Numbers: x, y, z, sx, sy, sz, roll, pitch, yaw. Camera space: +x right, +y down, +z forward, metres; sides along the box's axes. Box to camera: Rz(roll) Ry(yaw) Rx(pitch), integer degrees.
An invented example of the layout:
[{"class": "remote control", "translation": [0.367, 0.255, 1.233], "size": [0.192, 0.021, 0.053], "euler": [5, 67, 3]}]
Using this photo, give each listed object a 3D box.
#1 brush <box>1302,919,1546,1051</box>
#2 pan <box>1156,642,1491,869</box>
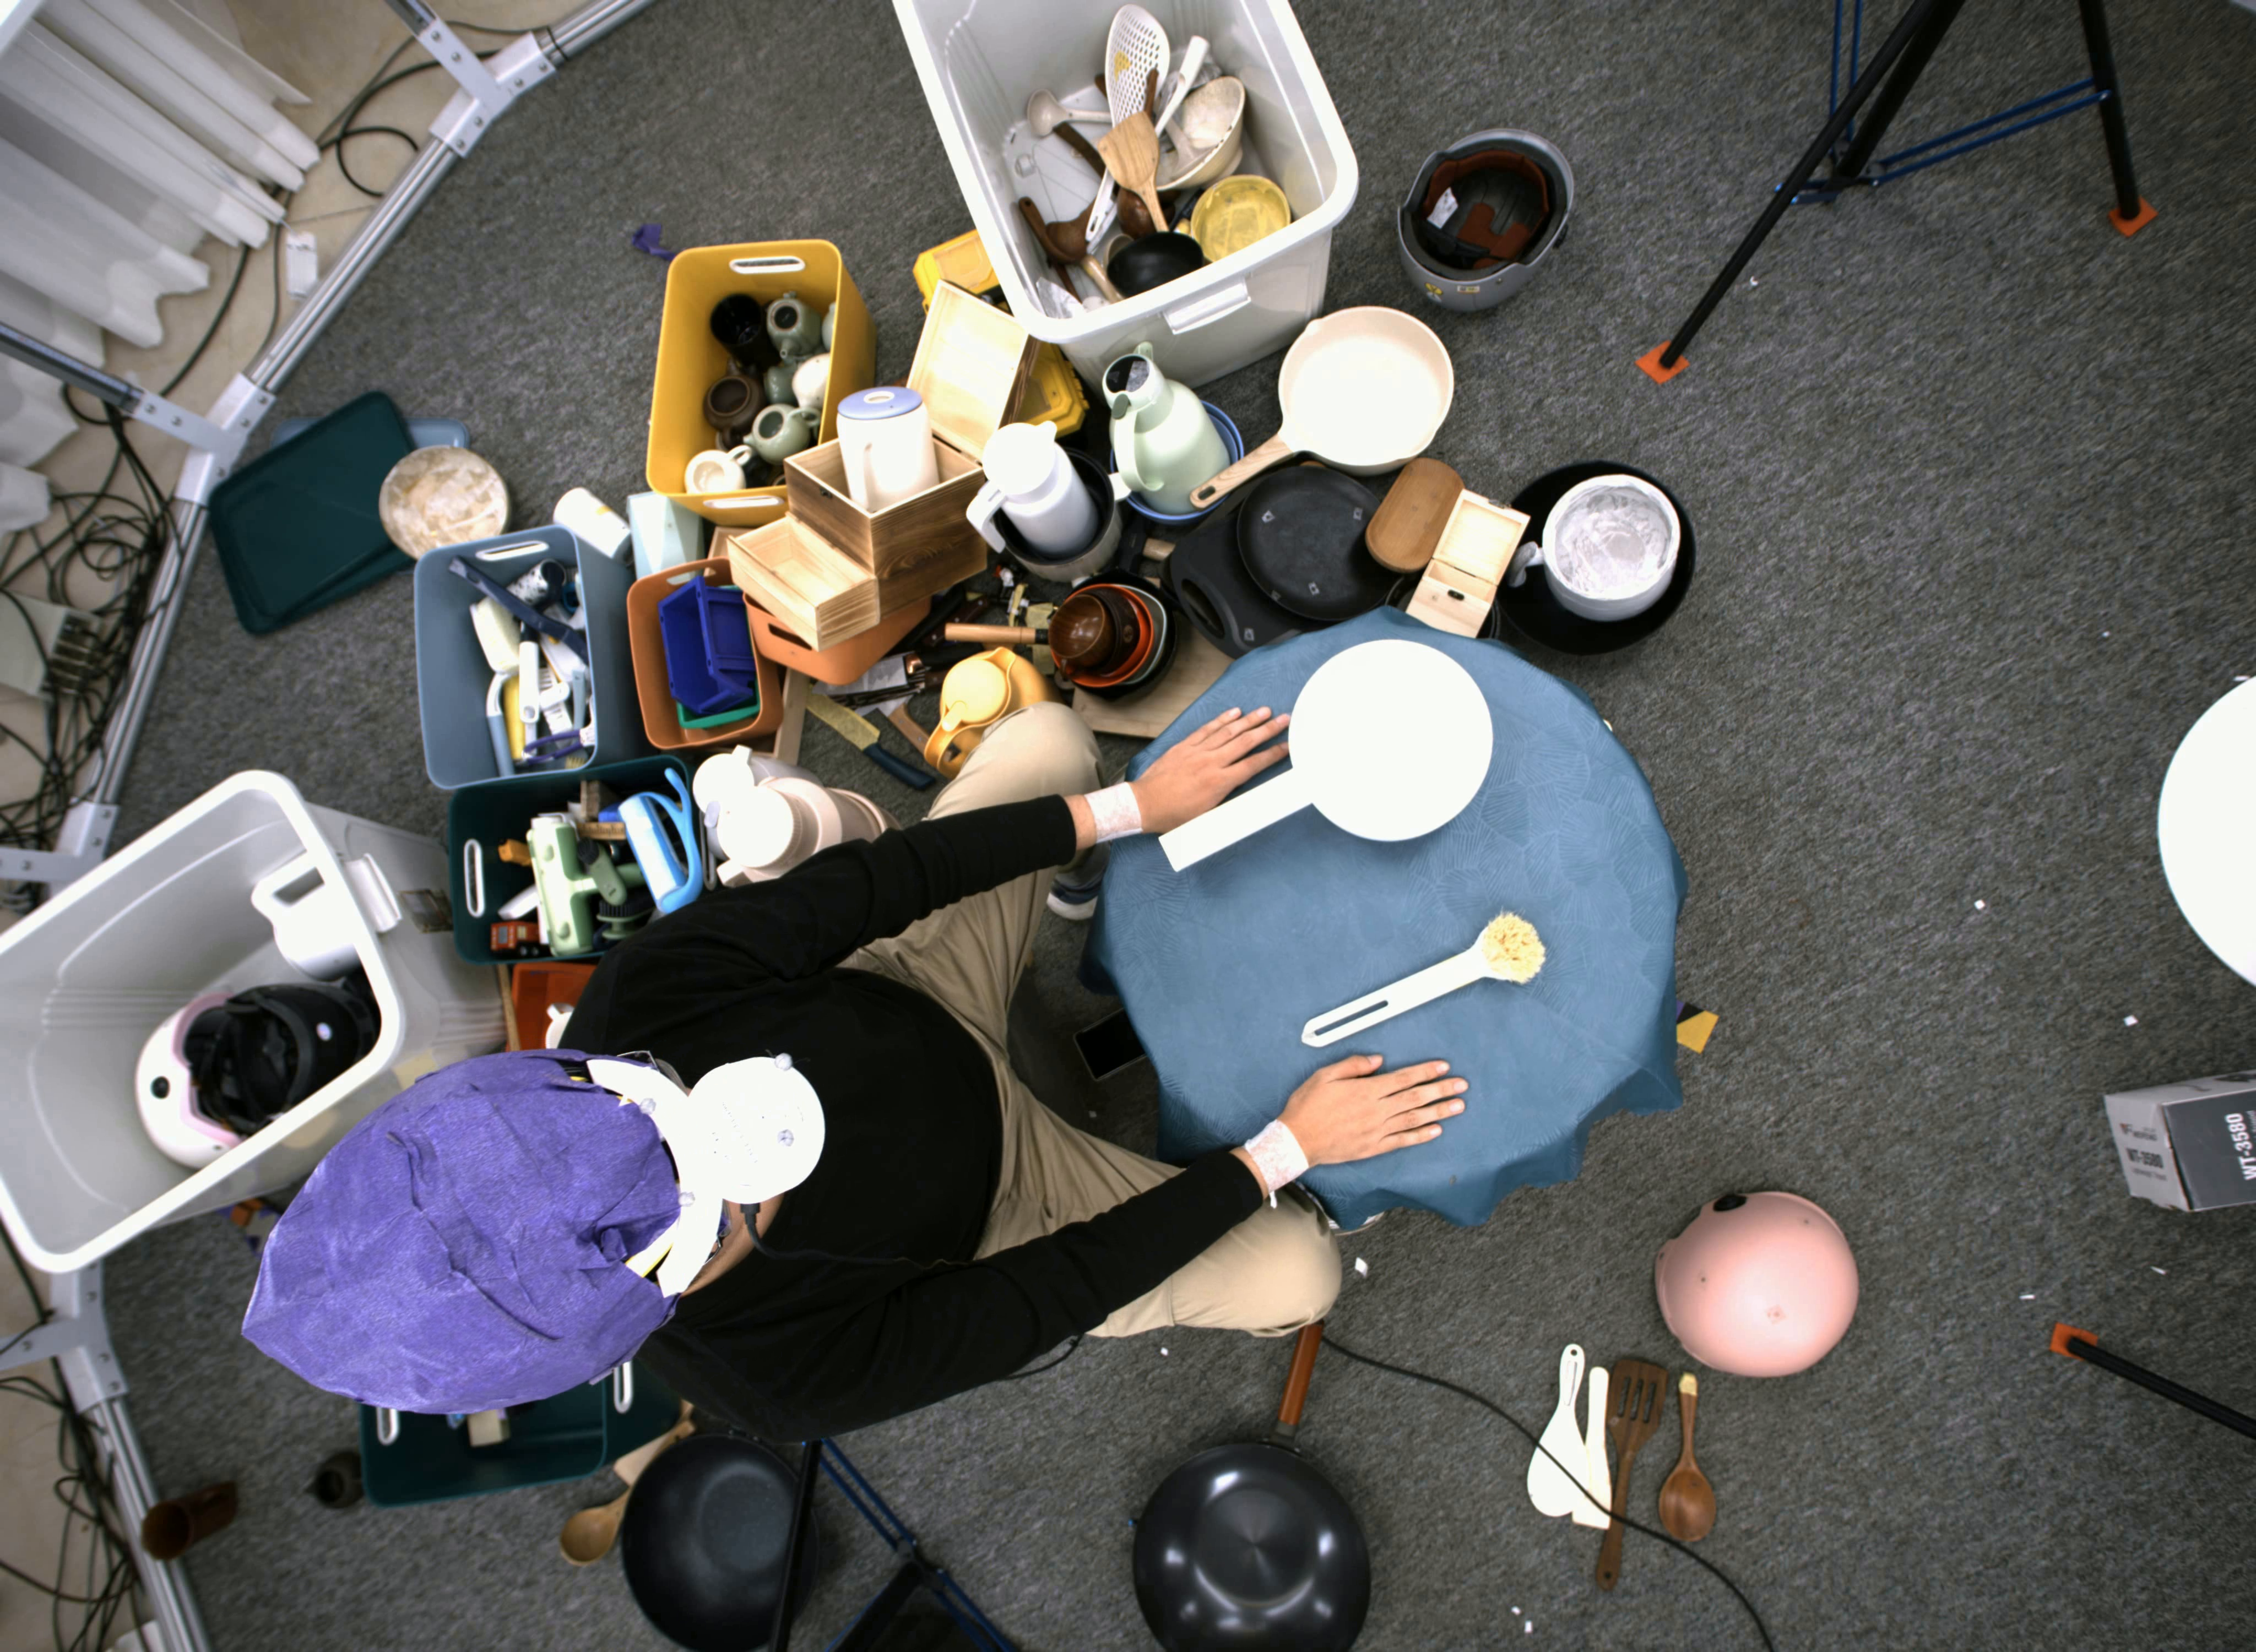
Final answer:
[{"class": "brush", "translation": [0.302, 0.171, 1.422], "size": [0.268, 0.056, 0.068], "euler": [-24, 78, 9]}, {"class": "pan", "translation": [0.200, -0.048, 1.431], "size": [0.357, 0.102, 0.200], "euler": [-27, 83, 9]}]
